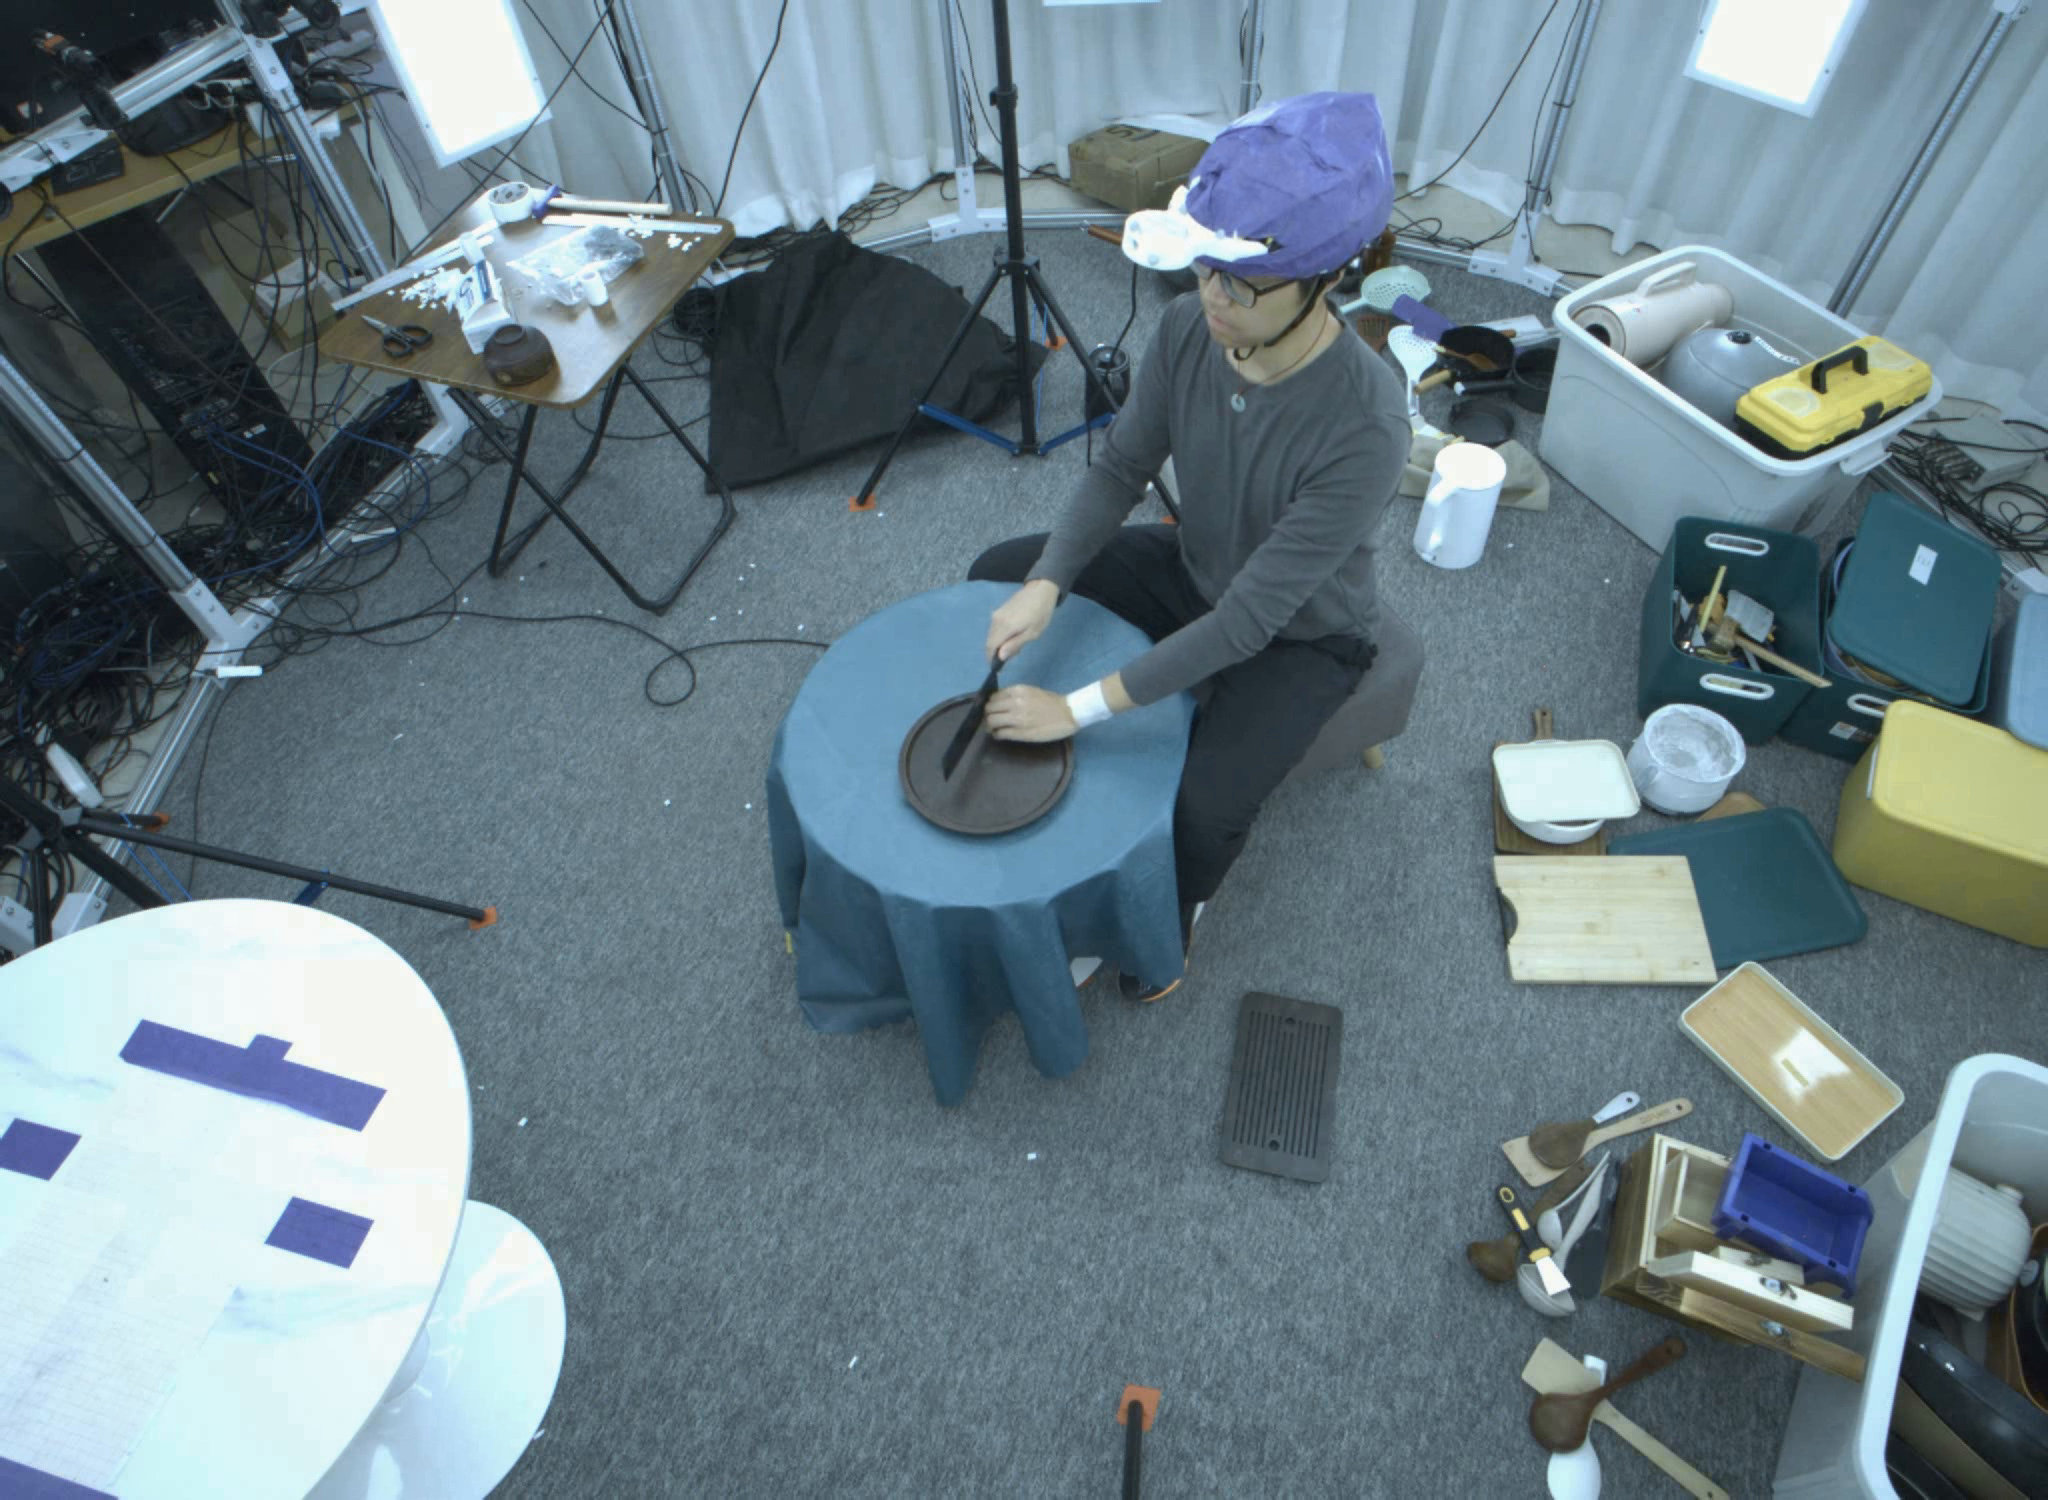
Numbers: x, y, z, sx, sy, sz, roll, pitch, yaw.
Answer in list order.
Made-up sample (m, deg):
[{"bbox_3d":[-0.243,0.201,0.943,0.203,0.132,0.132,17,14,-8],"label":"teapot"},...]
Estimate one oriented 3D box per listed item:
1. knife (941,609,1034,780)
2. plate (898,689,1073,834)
[{"bbox_3d":[-0.053,-0.087,1.767,0.020,0.082,0.302,19,62,15],"label":"knife"},{"bbox_3d":[-0.055,0.015,1.772,0.254,0.029,0.252,-1,54,2],"label":"plate"}]
